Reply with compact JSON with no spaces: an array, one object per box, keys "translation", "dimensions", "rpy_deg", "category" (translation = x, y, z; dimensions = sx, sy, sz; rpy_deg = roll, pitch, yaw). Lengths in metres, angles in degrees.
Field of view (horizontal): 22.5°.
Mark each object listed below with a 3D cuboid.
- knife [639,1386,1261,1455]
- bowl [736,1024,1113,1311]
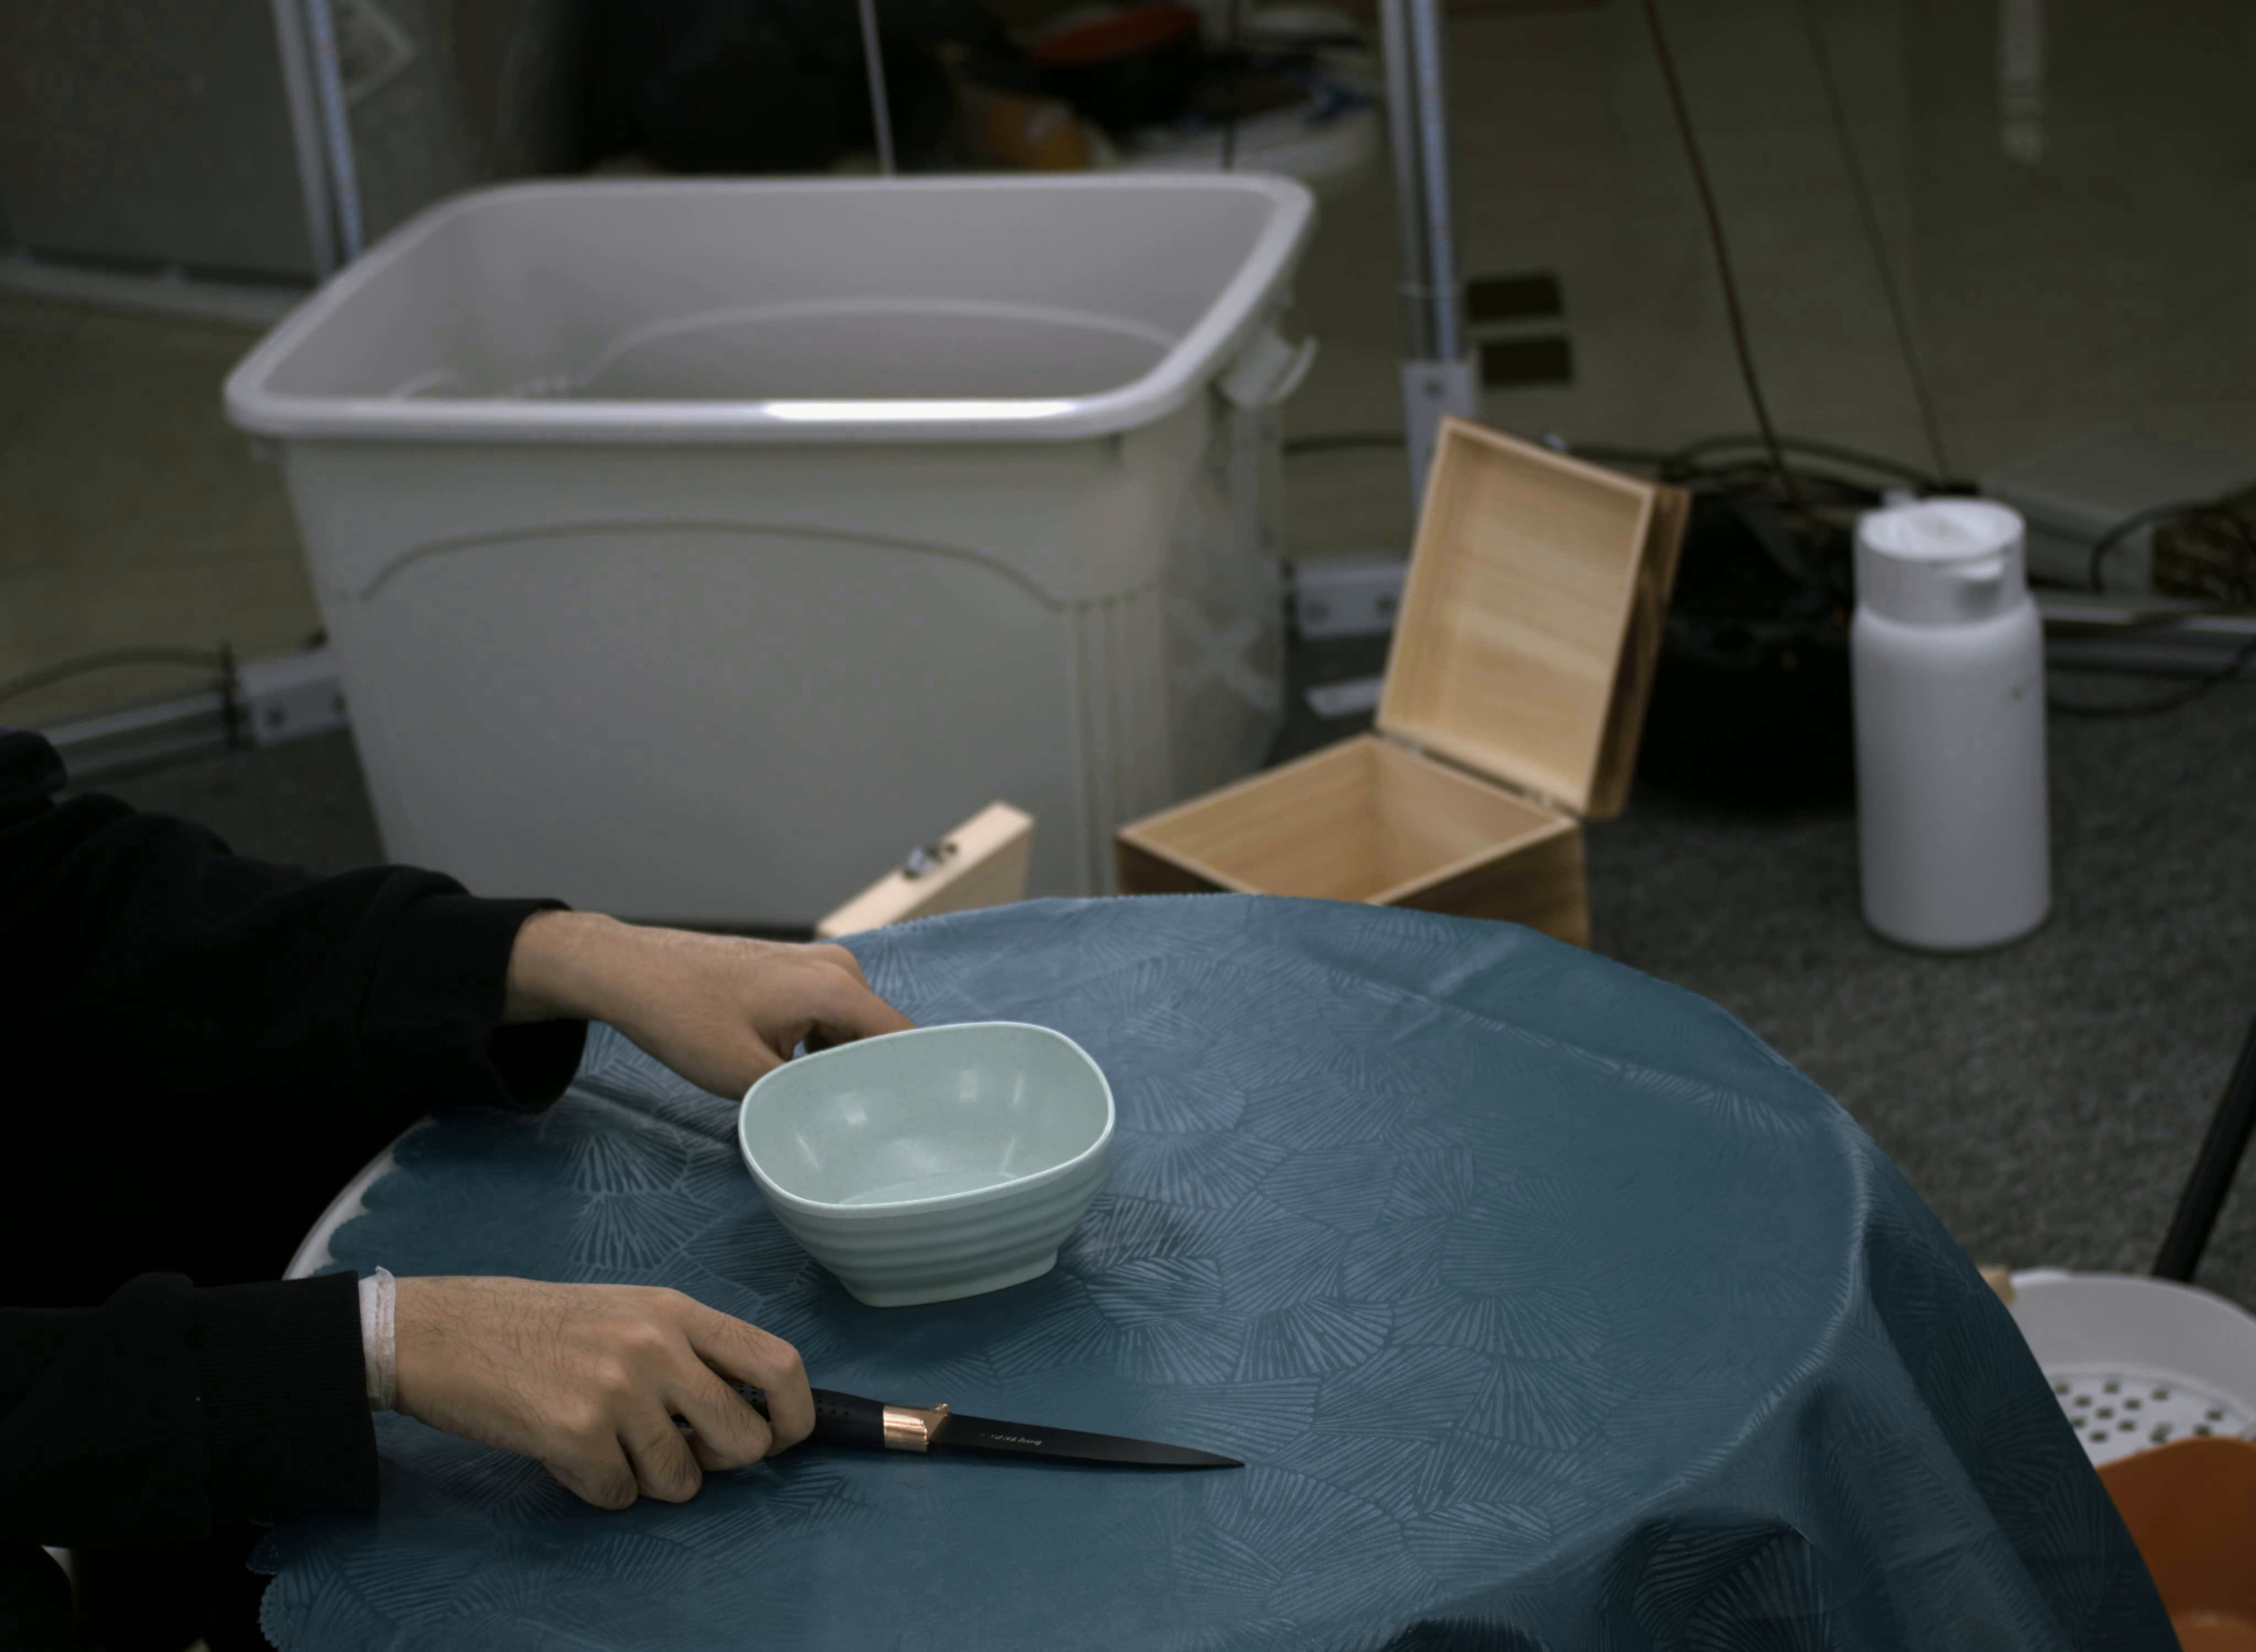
[{"translation":[-0.064,0.211,1.995],"dimensions":[0.225,0.017,0.026],"rpy_deg":[2,20,15],"category":"knife"},{"translation":[-0.073,0.133,2.112],"dimensions":[0.151,0.059,0.149],"rpy_deg":[-5,27,2],"category":"bowl"}]
